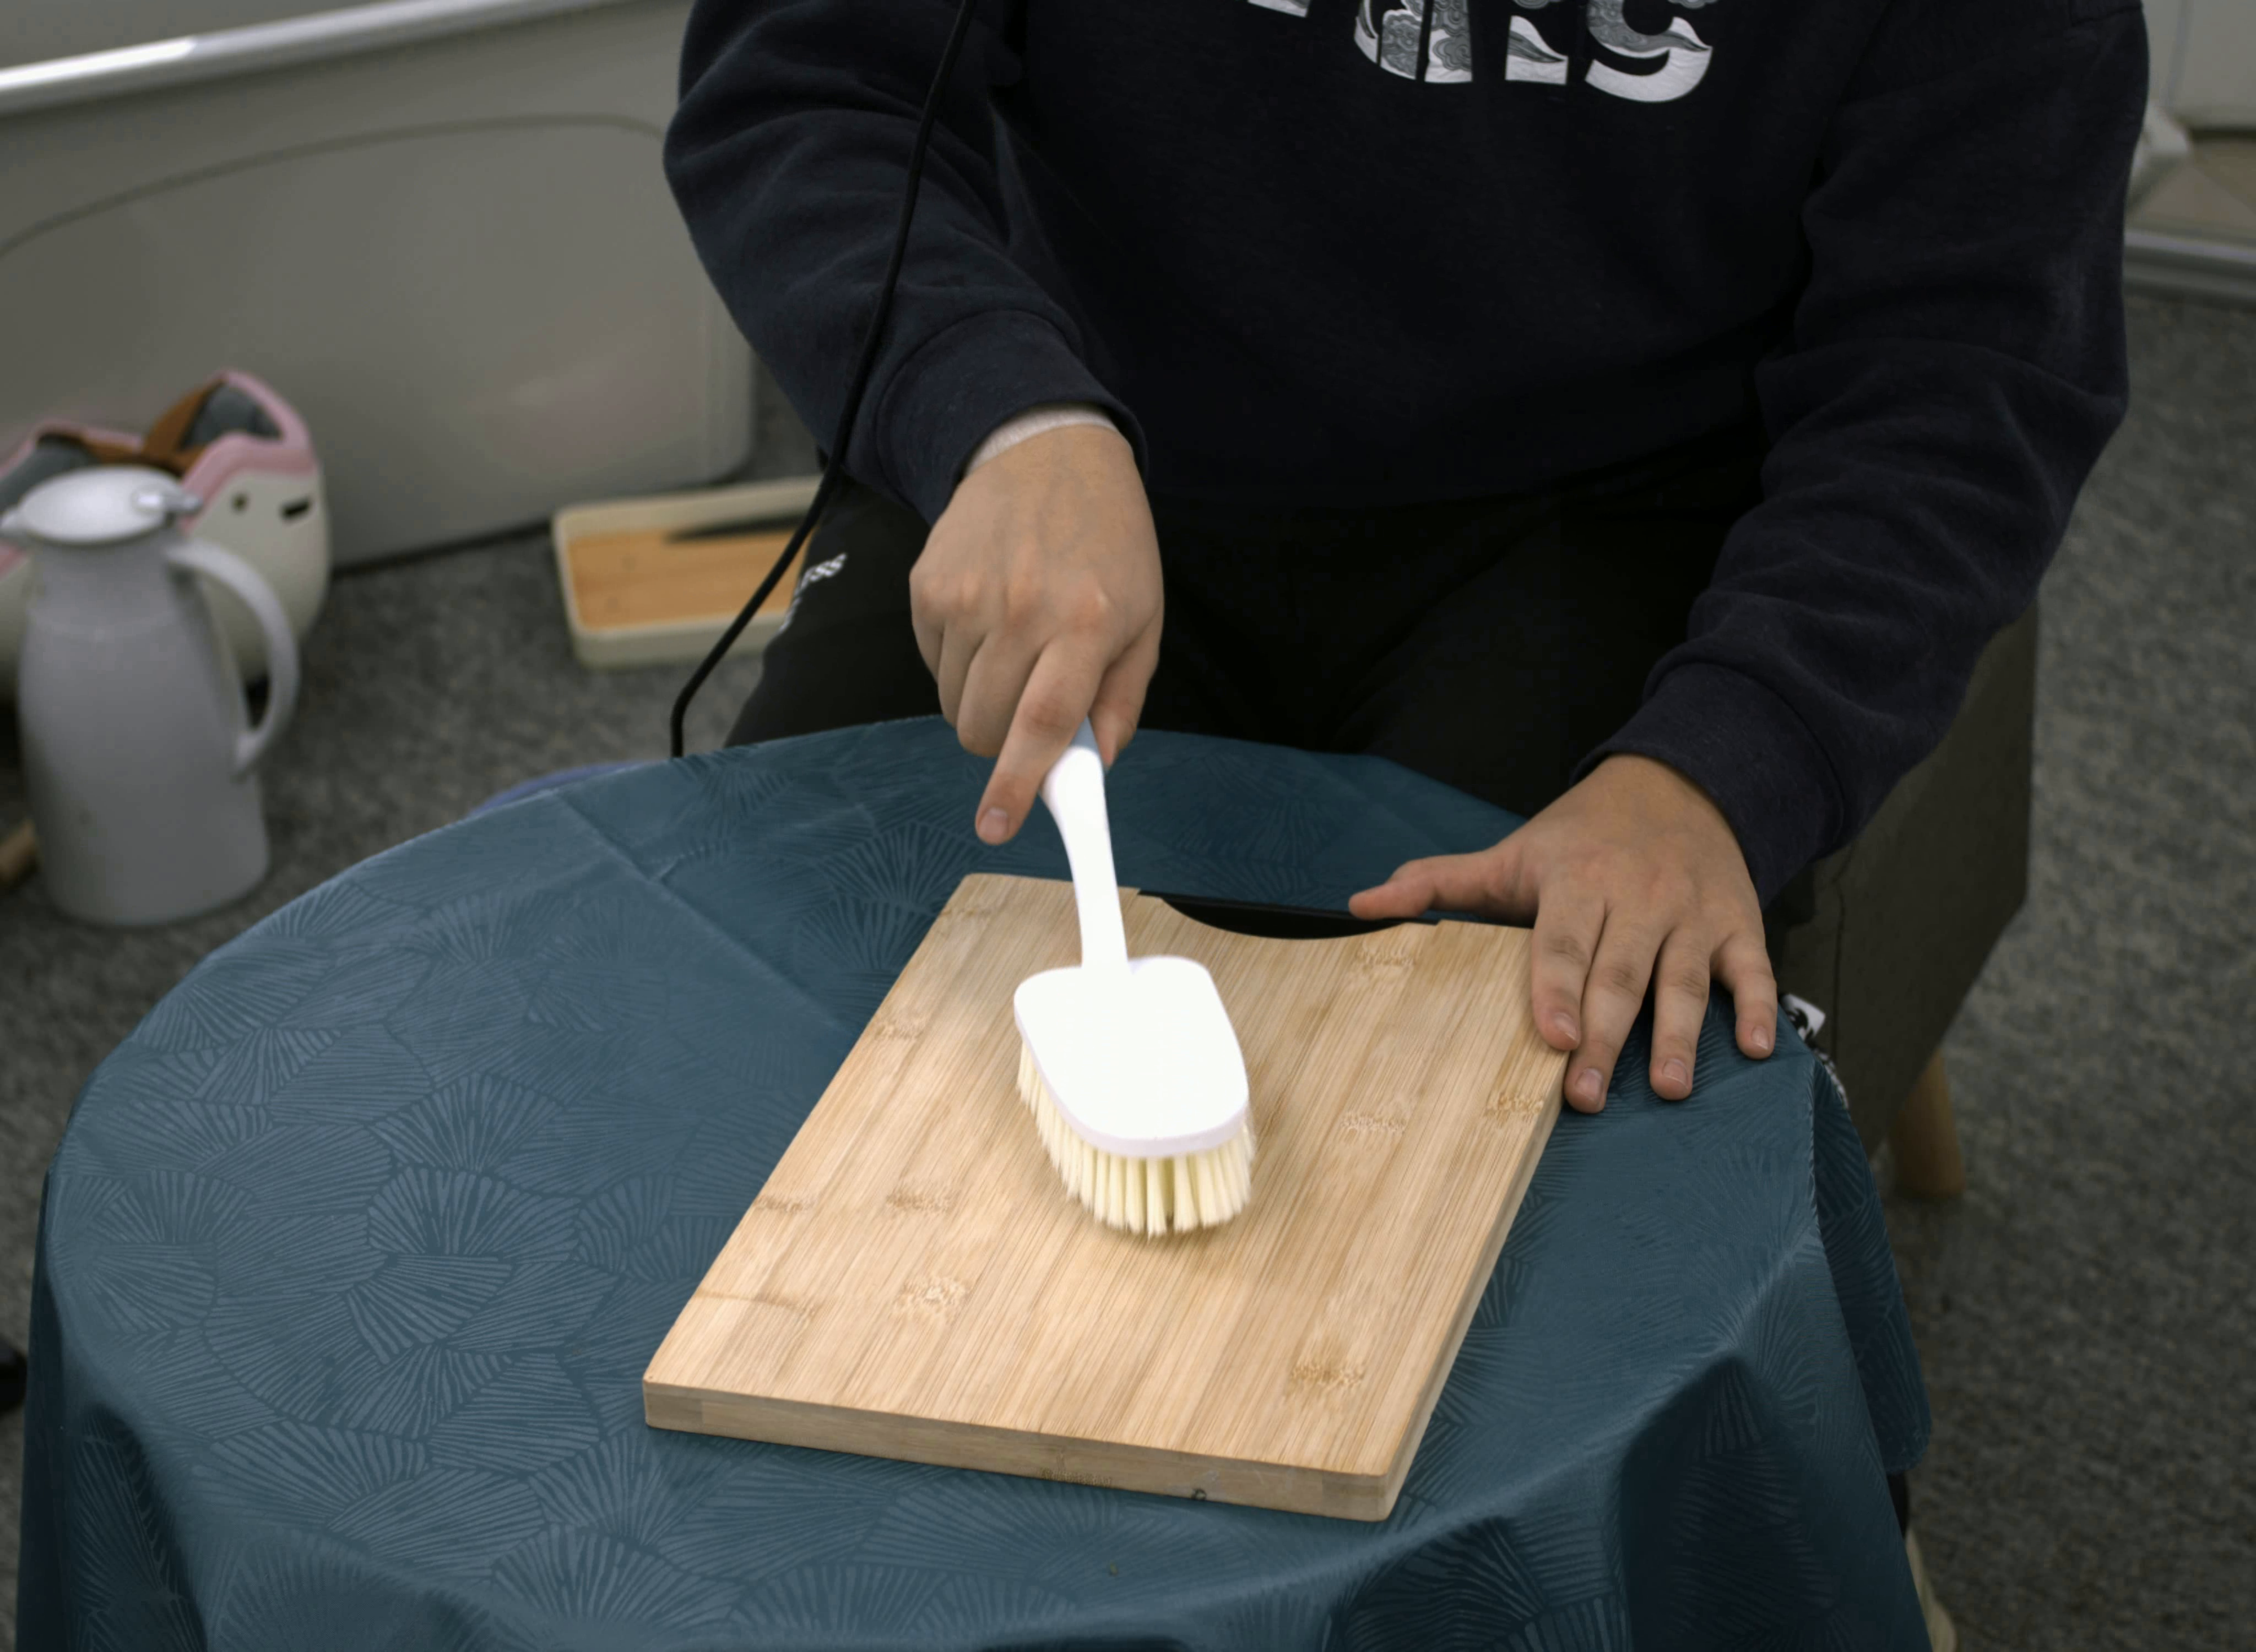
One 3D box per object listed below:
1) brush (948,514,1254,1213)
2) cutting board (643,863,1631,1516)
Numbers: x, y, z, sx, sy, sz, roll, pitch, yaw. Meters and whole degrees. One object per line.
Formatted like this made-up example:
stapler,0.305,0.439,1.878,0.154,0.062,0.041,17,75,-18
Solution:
brush,-0.013,0.019,1.927,0.083,0.083,0.330,20,32,-30
cutting board,0.012,0.111,1.866,0.249,0.023,0.354,6,28,14
